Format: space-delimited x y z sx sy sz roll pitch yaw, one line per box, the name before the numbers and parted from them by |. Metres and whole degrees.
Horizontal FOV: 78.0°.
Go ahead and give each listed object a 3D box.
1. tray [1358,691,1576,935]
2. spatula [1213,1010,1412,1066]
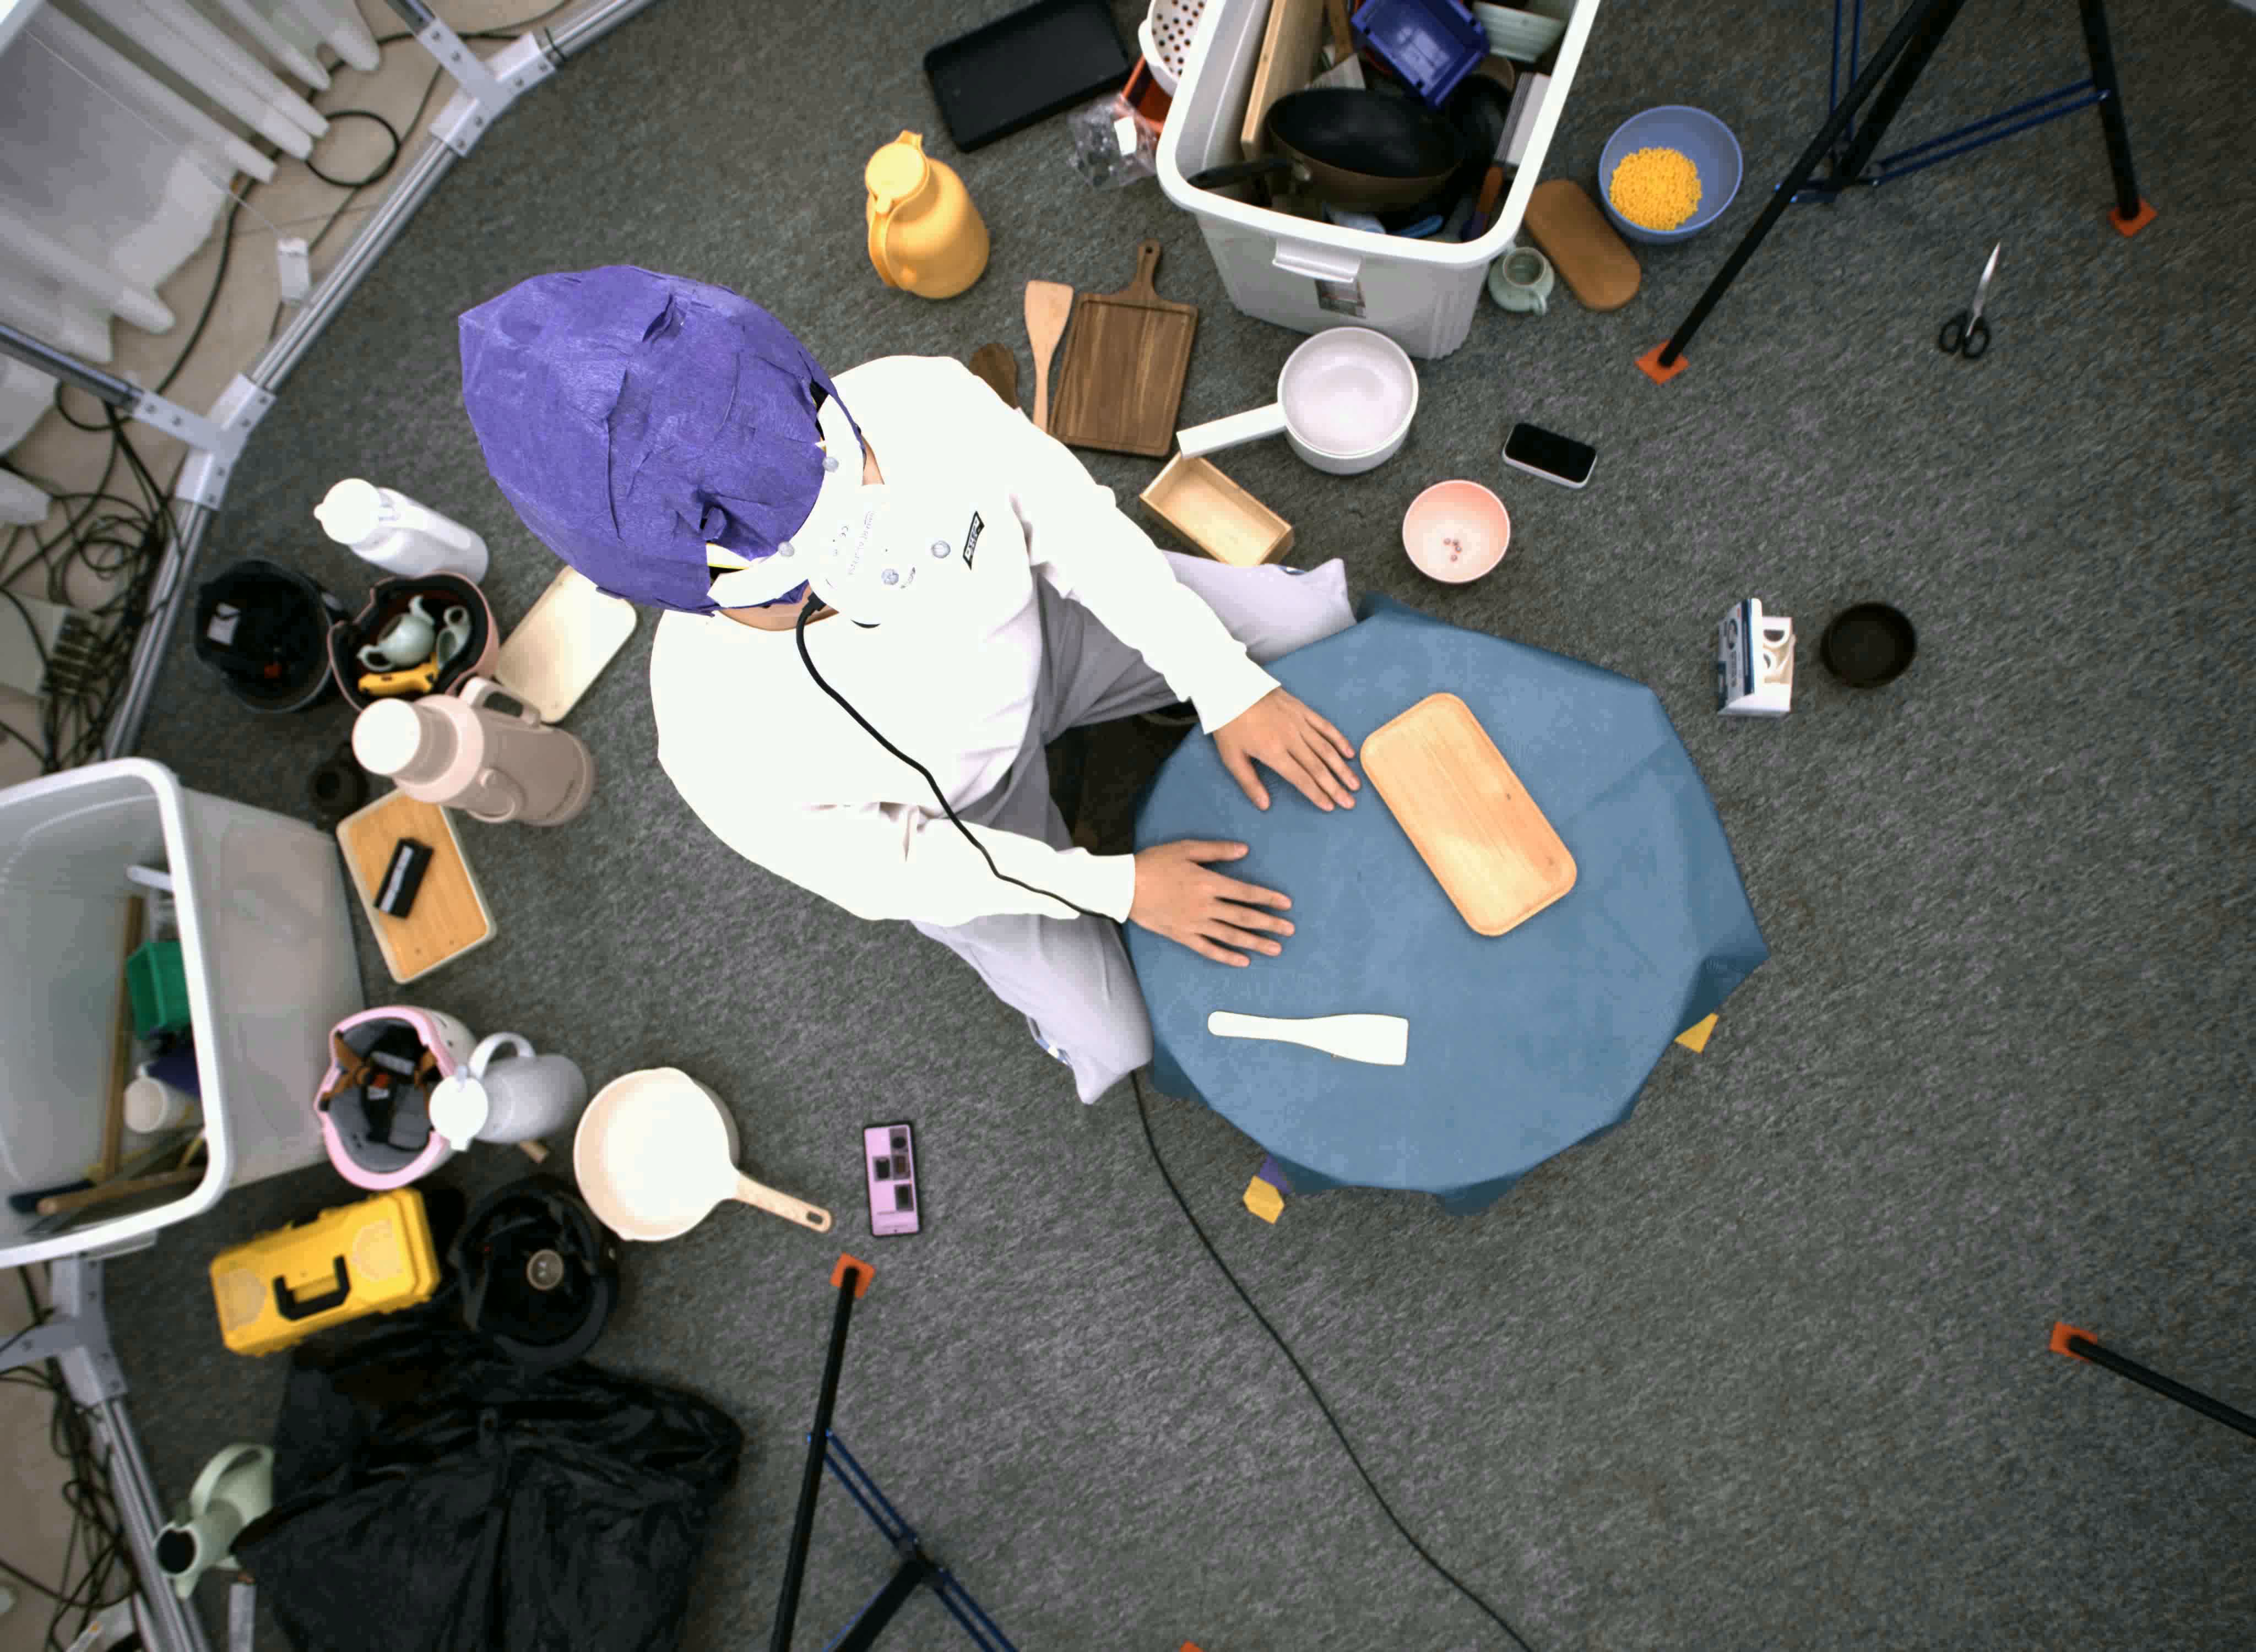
tray | 0.353 -0.016 1.439 0.131 0.023 0.249 -33 81 4
spatula | 0.193 0.215 1.462 0.208 0.005 0.050 6 87 10
